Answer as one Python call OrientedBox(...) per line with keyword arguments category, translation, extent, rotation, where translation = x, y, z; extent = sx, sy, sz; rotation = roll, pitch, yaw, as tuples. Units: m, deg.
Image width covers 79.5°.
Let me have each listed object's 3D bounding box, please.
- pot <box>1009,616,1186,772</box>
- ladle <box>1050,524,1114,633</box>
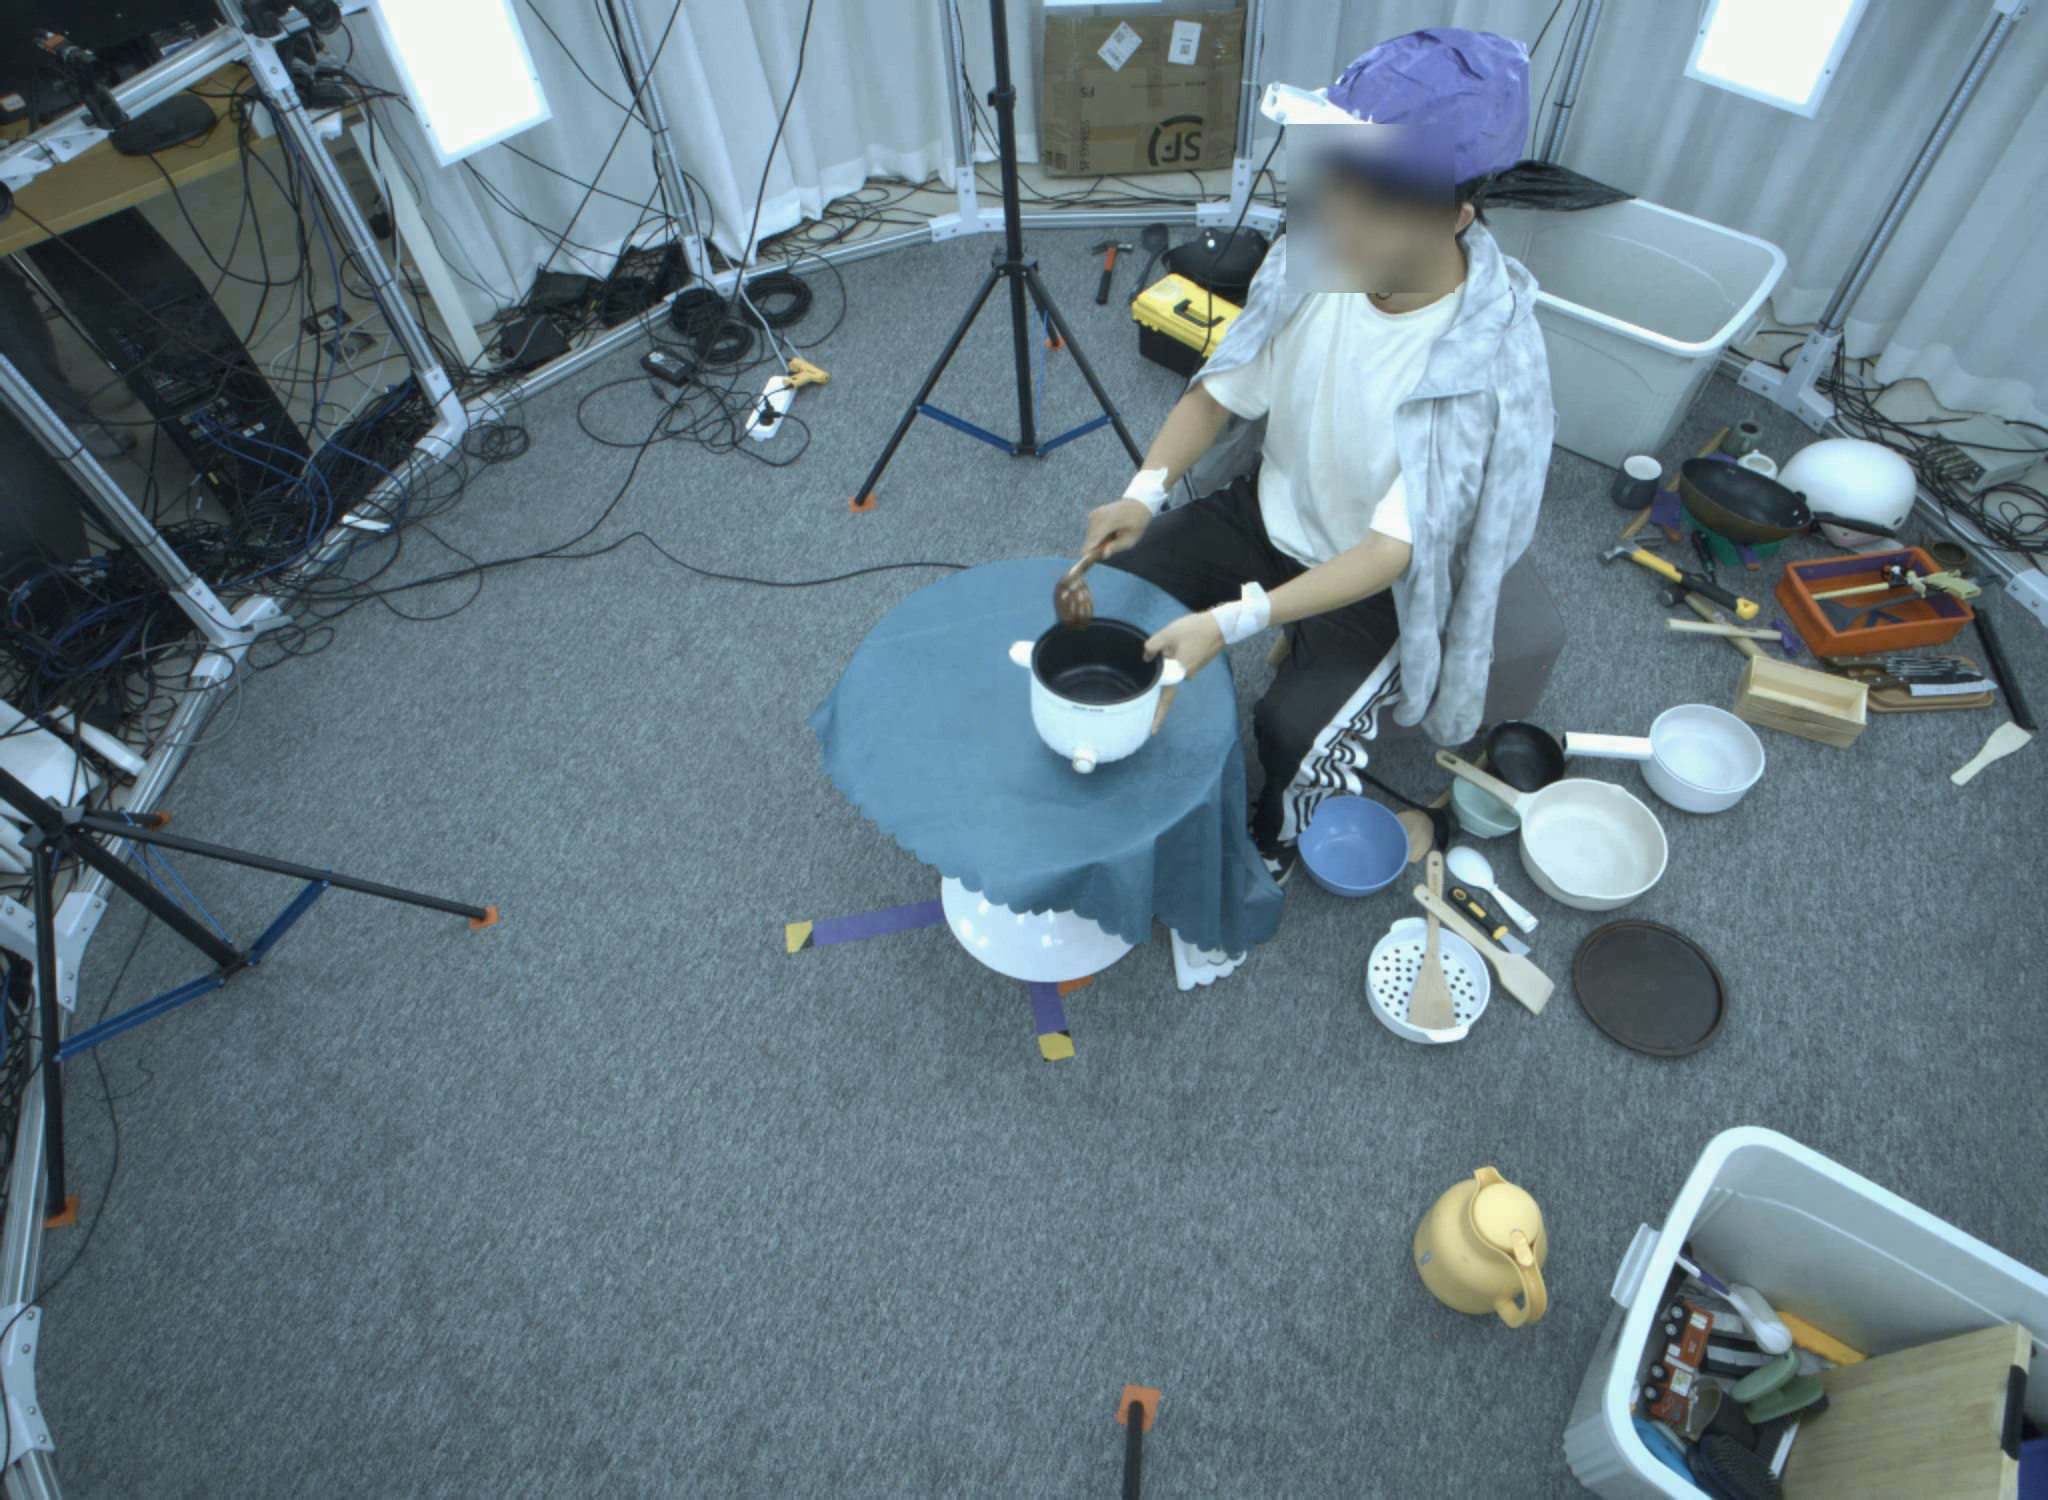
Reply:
OrientedBox(category="pot", translation=(0.099, -0.074, 1.707), extent=(0.239, 0.144, 0.189), rotation=(7, 43, 6))
OrientedBox(category="ladle", translation=(0.106, -0.256, 1.759), extent=(0.076, 0.082, 0.275), rotation=(24, 39, 11))
